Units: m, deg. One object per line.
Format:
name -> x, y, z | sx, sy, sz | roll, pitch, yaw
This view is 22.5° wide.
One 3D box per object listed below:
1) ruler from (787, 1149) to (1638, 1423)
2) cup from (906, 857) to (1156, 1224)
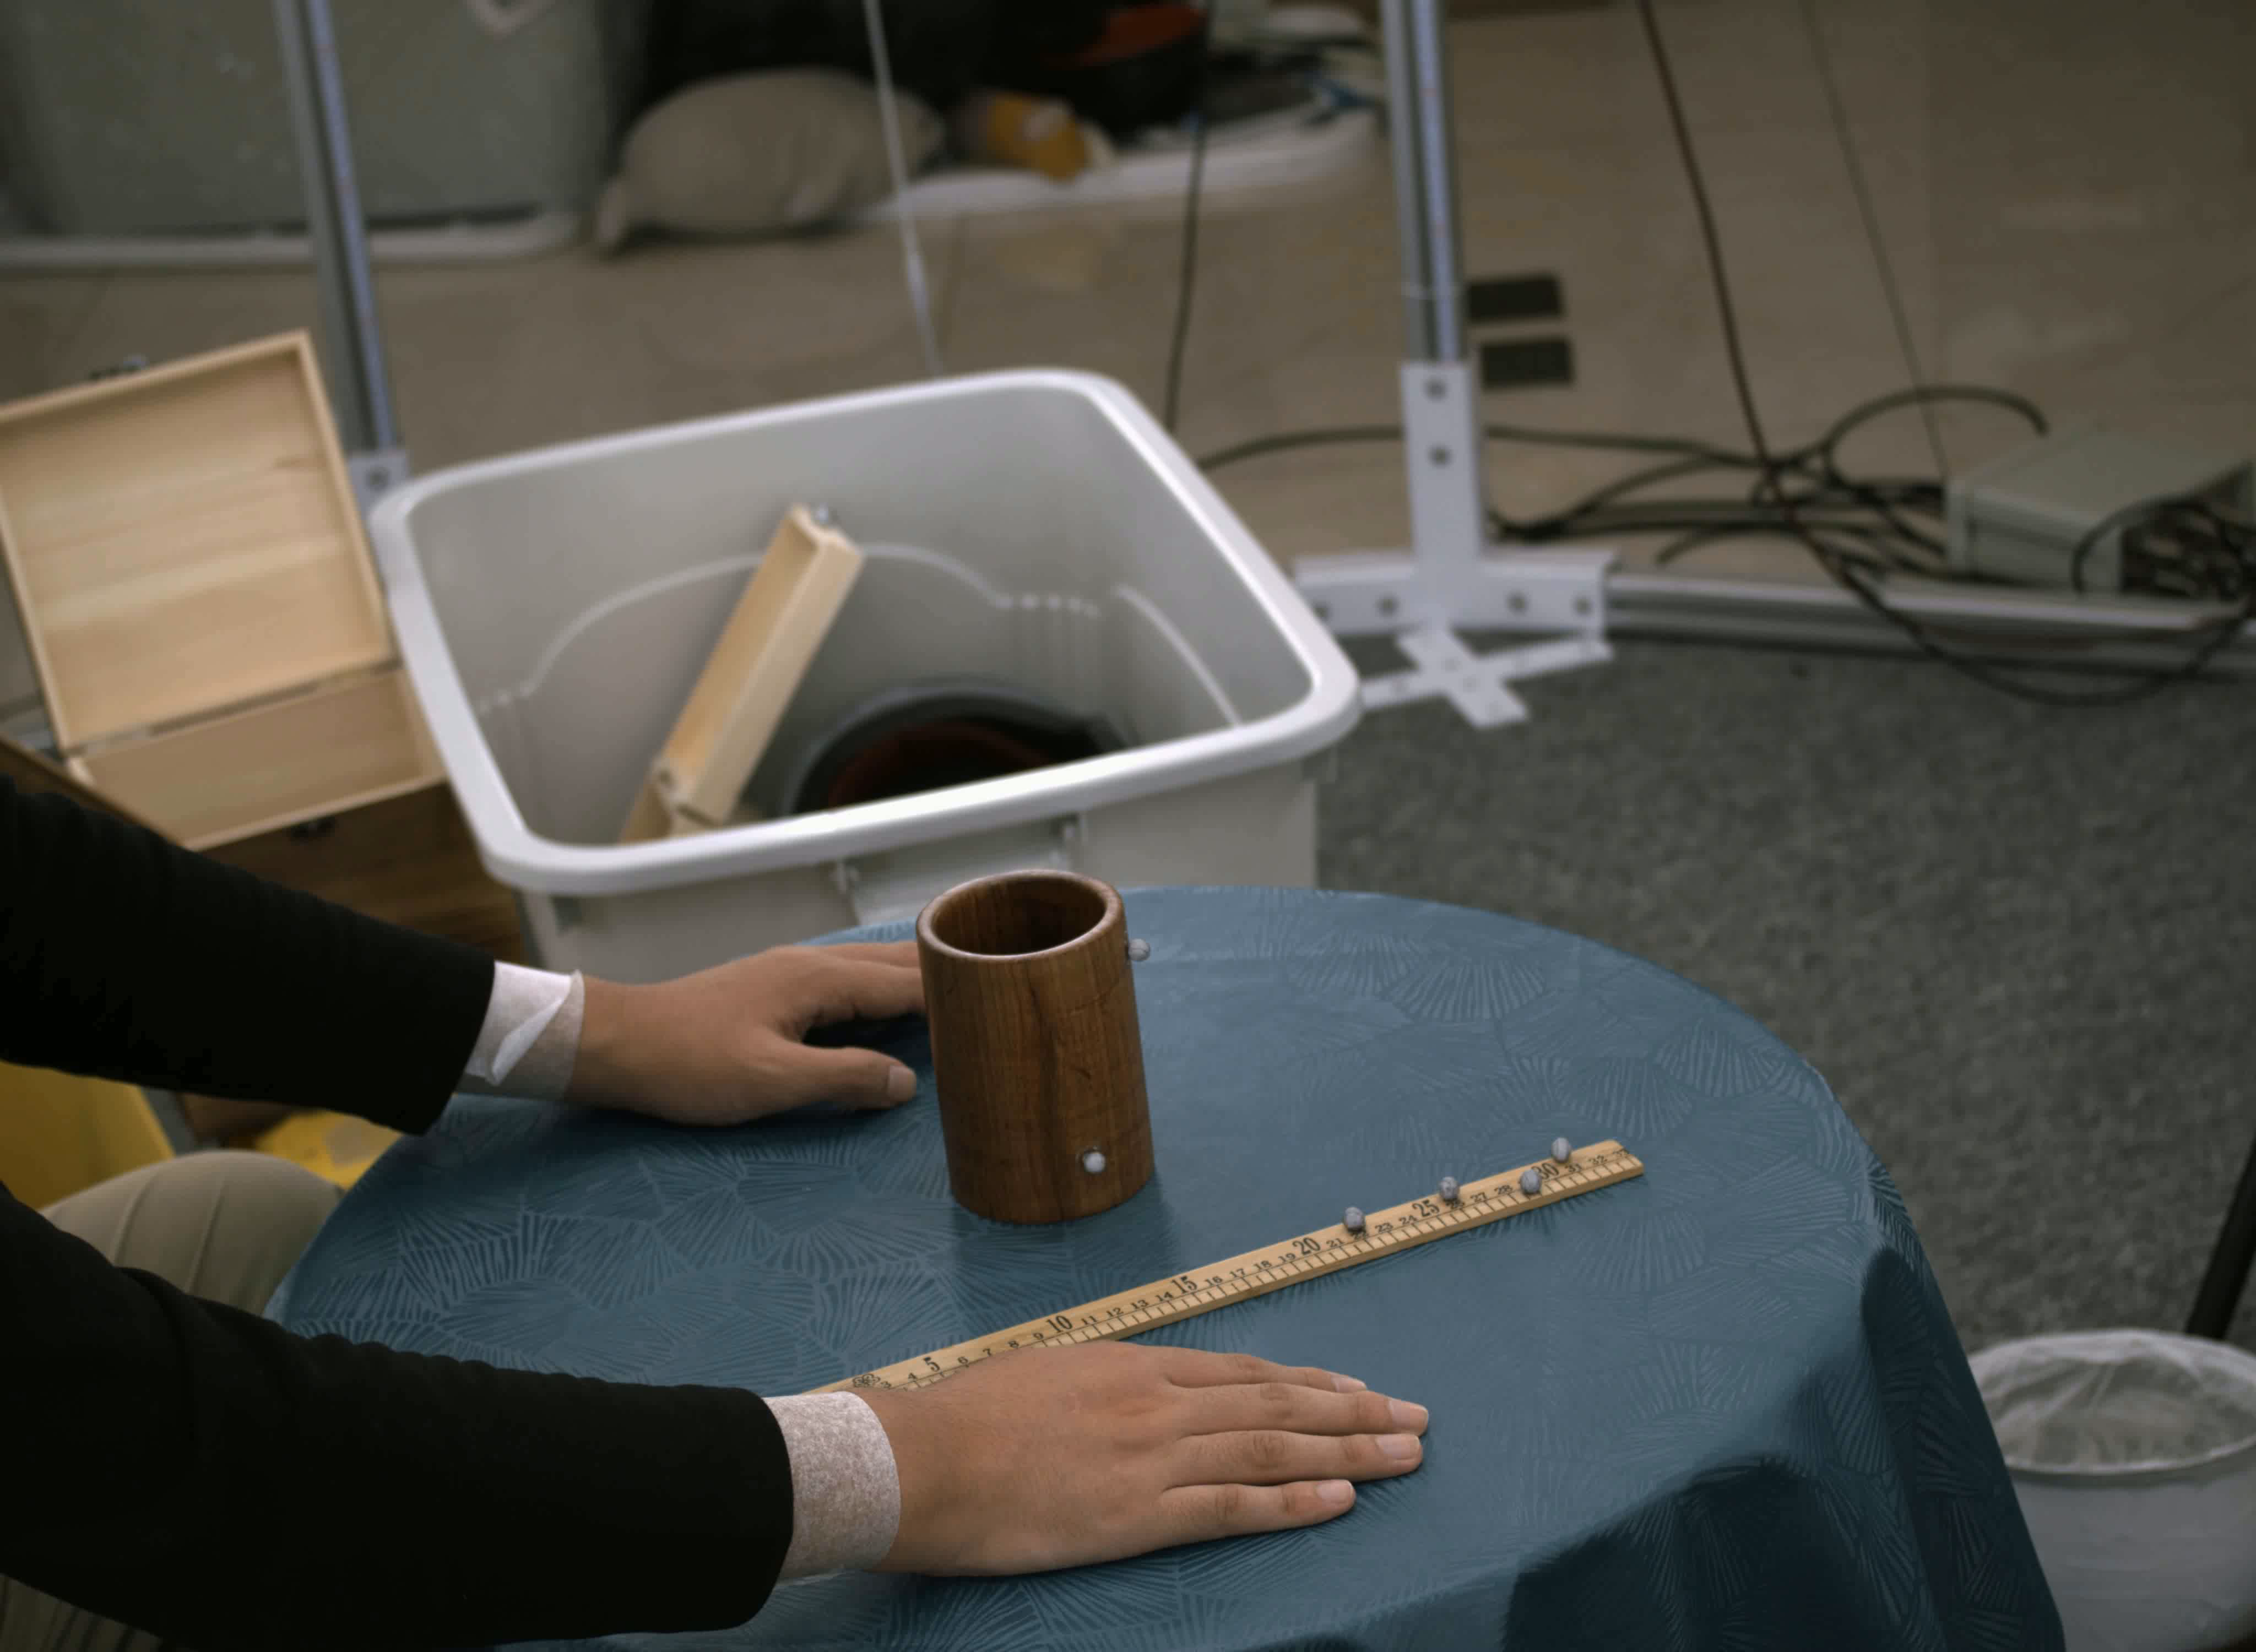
ruler -> 0.034, 0.164, 2.073 | 0.330, 0.022, 0.027 | -14, 22, -18
cup -> -0.034, 0.081, 2.141 | 0.087, 0.120, 0.086 | -6, 25, 3
